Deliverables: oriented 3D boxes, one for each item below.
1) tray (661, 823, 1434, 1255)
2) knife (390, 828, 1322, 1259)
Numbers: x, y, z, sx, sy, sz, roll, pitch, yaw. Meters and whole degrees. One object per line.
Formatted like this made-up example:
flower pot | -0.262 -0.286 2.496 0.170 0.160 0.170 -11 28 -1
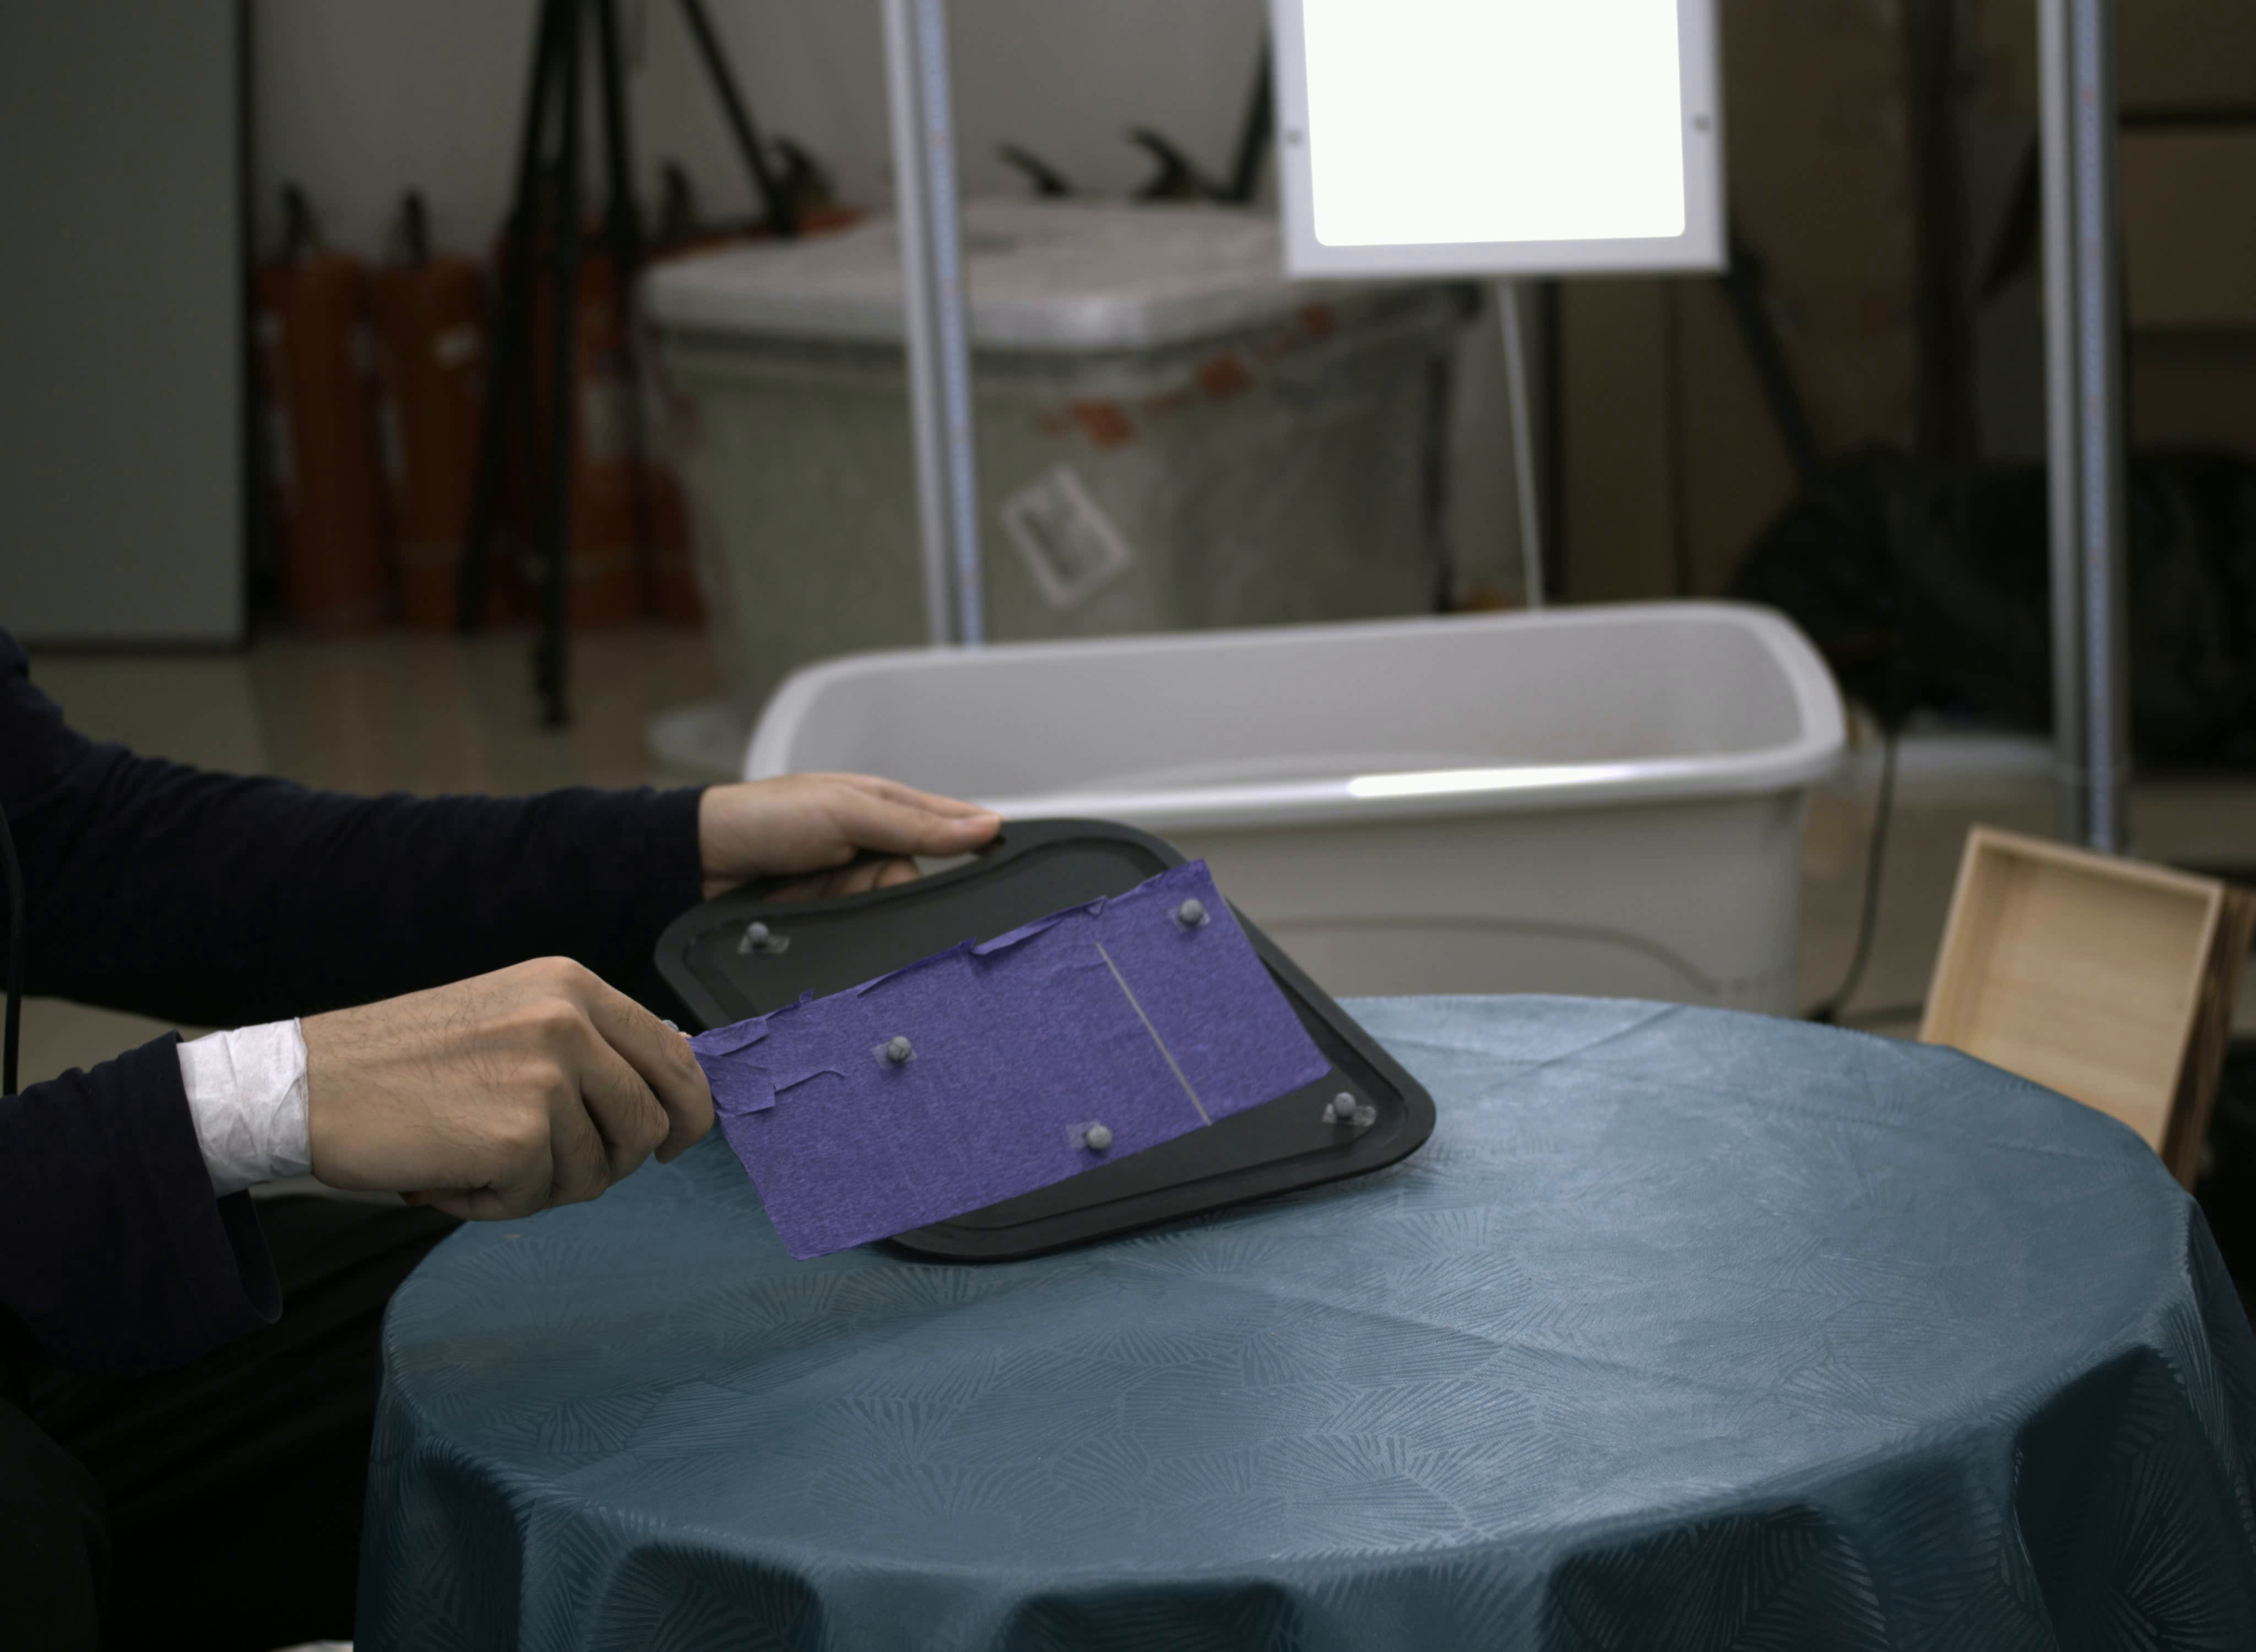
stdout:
tray | -0.039 0.068 1.997 0.207 0.010 0.329 -13 27 -19
knife | -0.081 0.087 1.800 0.309 0.032 0.104 -21 63 -22
